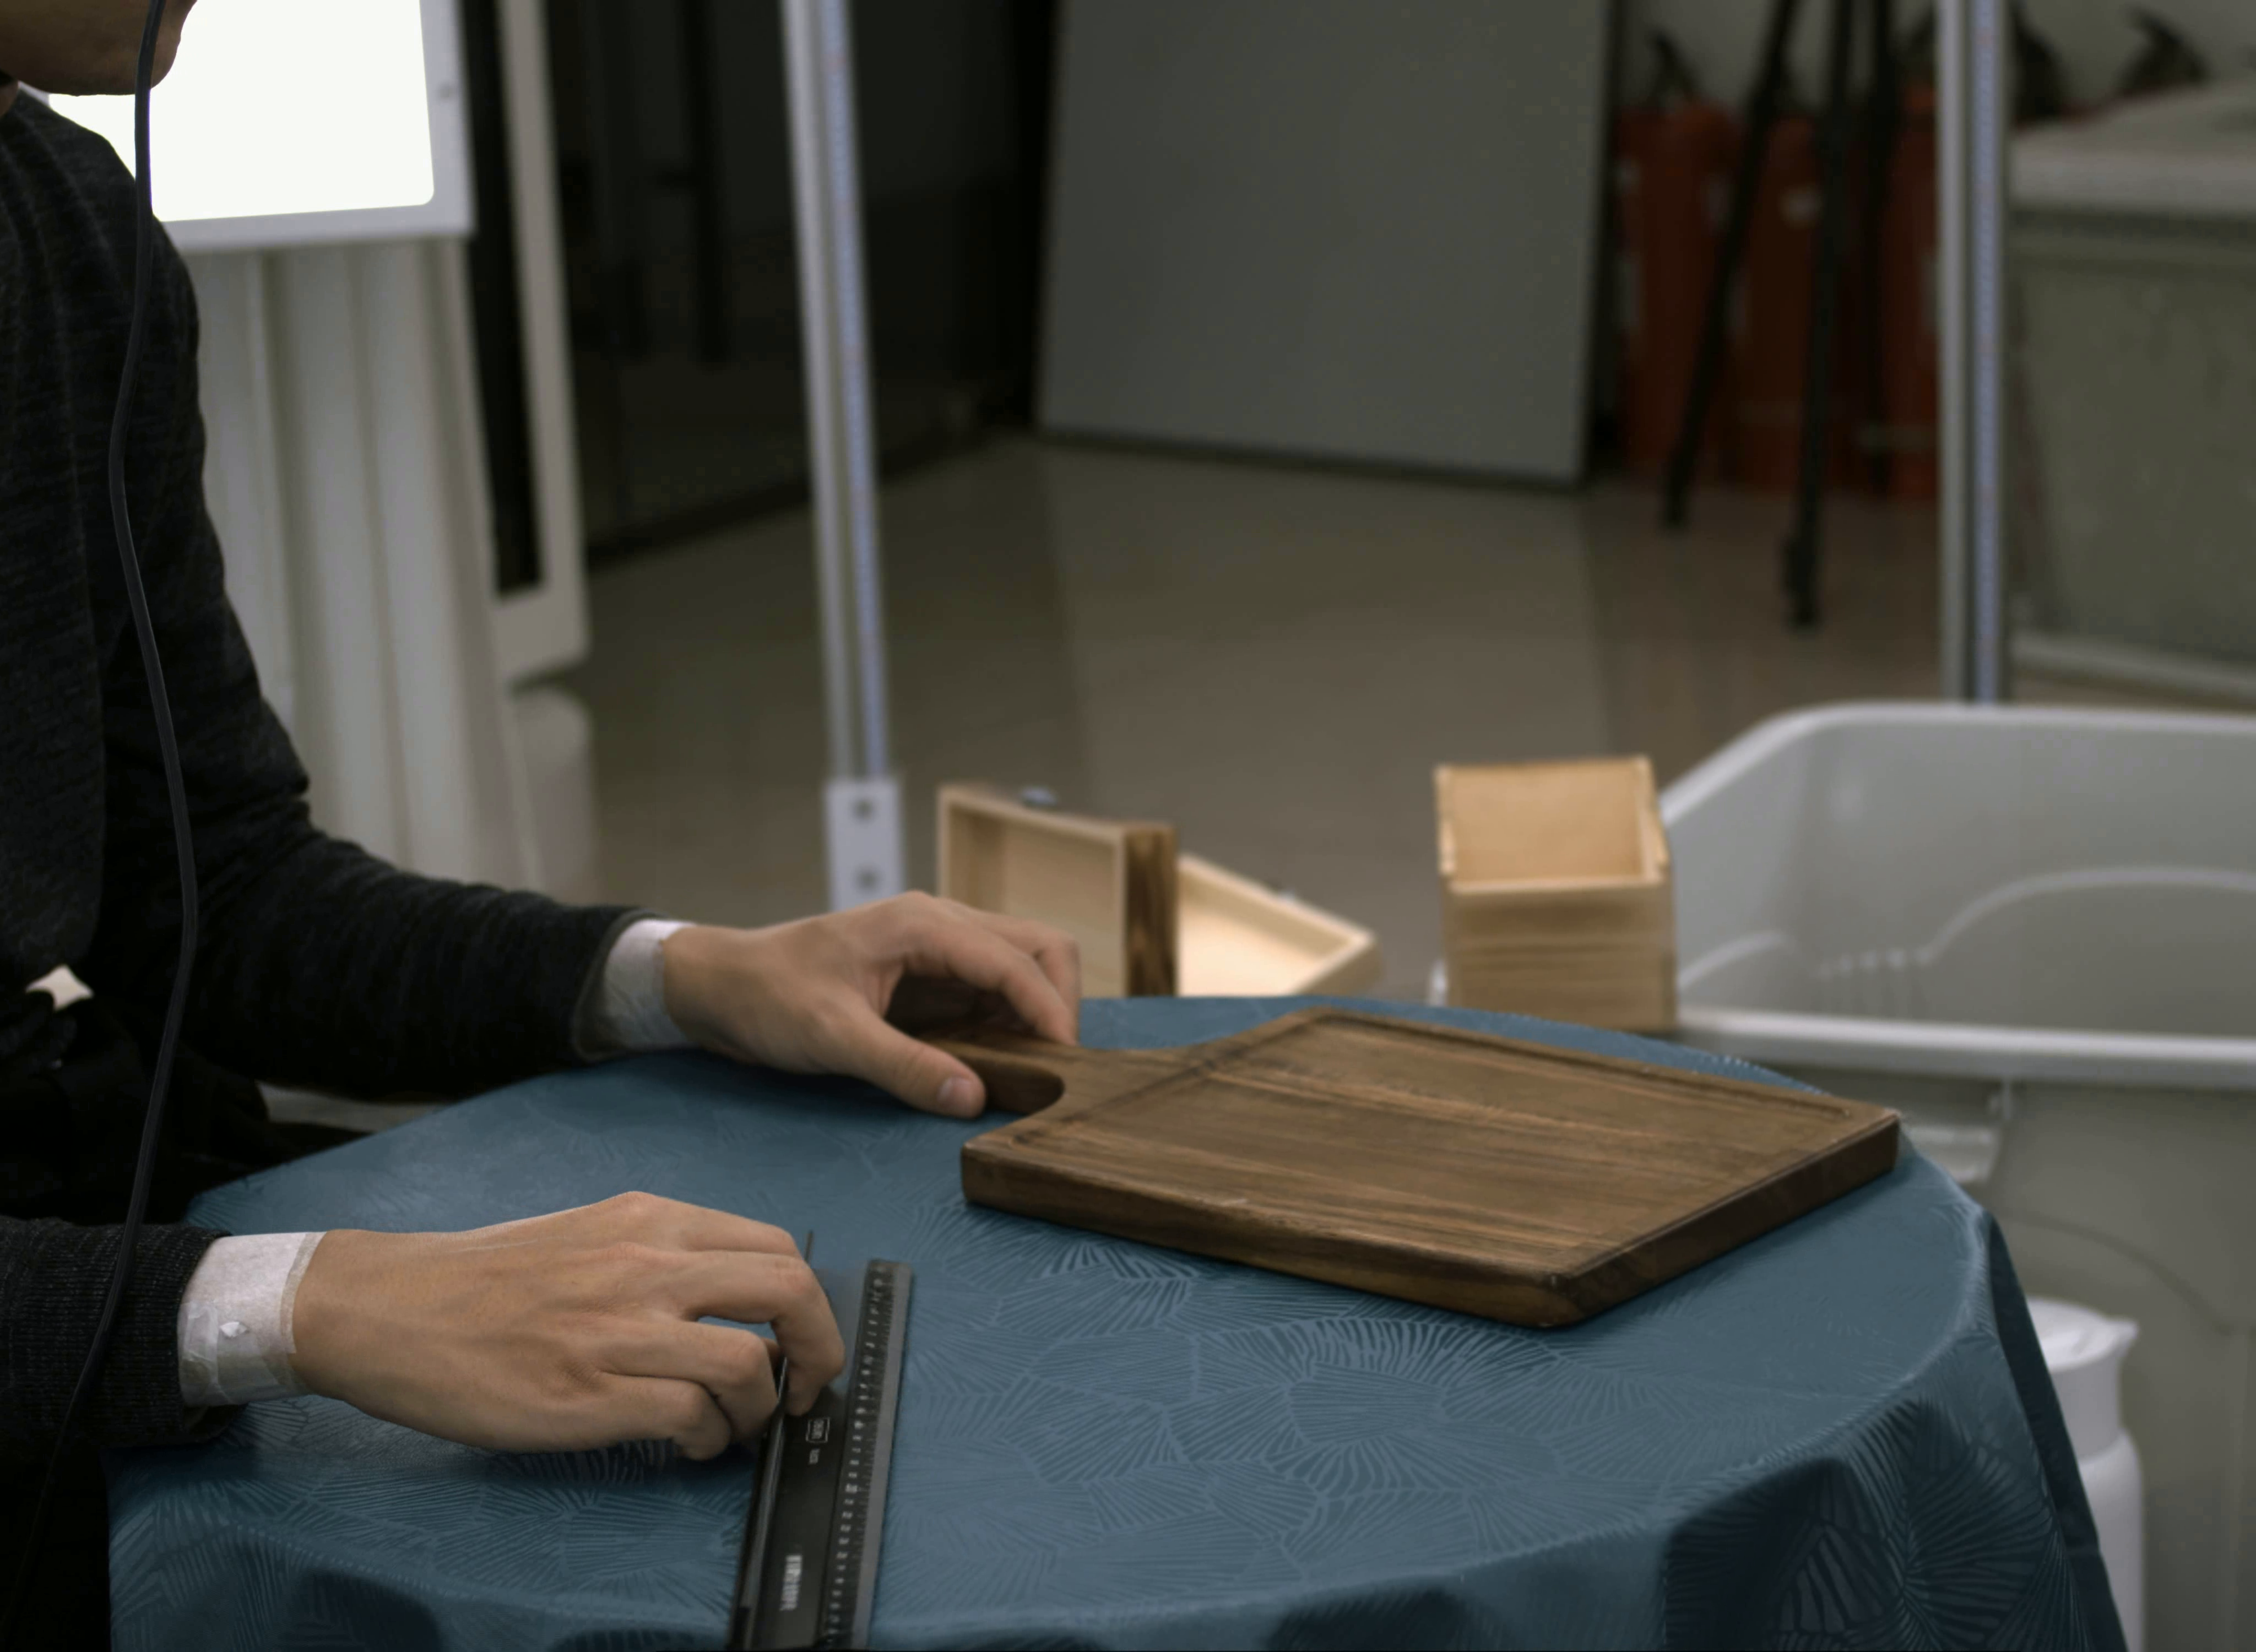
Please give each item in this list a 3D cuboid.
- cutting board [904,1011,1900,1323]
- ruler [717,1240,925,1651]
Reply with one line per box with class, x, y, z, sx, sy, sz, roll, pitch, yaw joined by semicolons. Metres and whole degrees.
cutting board;0.061;0.102;1.786;0.355;0.023;0.197;7;18;41
ruler;-0.086;0.173;1.551;0.039;0.017;0.312;-3;14;2
